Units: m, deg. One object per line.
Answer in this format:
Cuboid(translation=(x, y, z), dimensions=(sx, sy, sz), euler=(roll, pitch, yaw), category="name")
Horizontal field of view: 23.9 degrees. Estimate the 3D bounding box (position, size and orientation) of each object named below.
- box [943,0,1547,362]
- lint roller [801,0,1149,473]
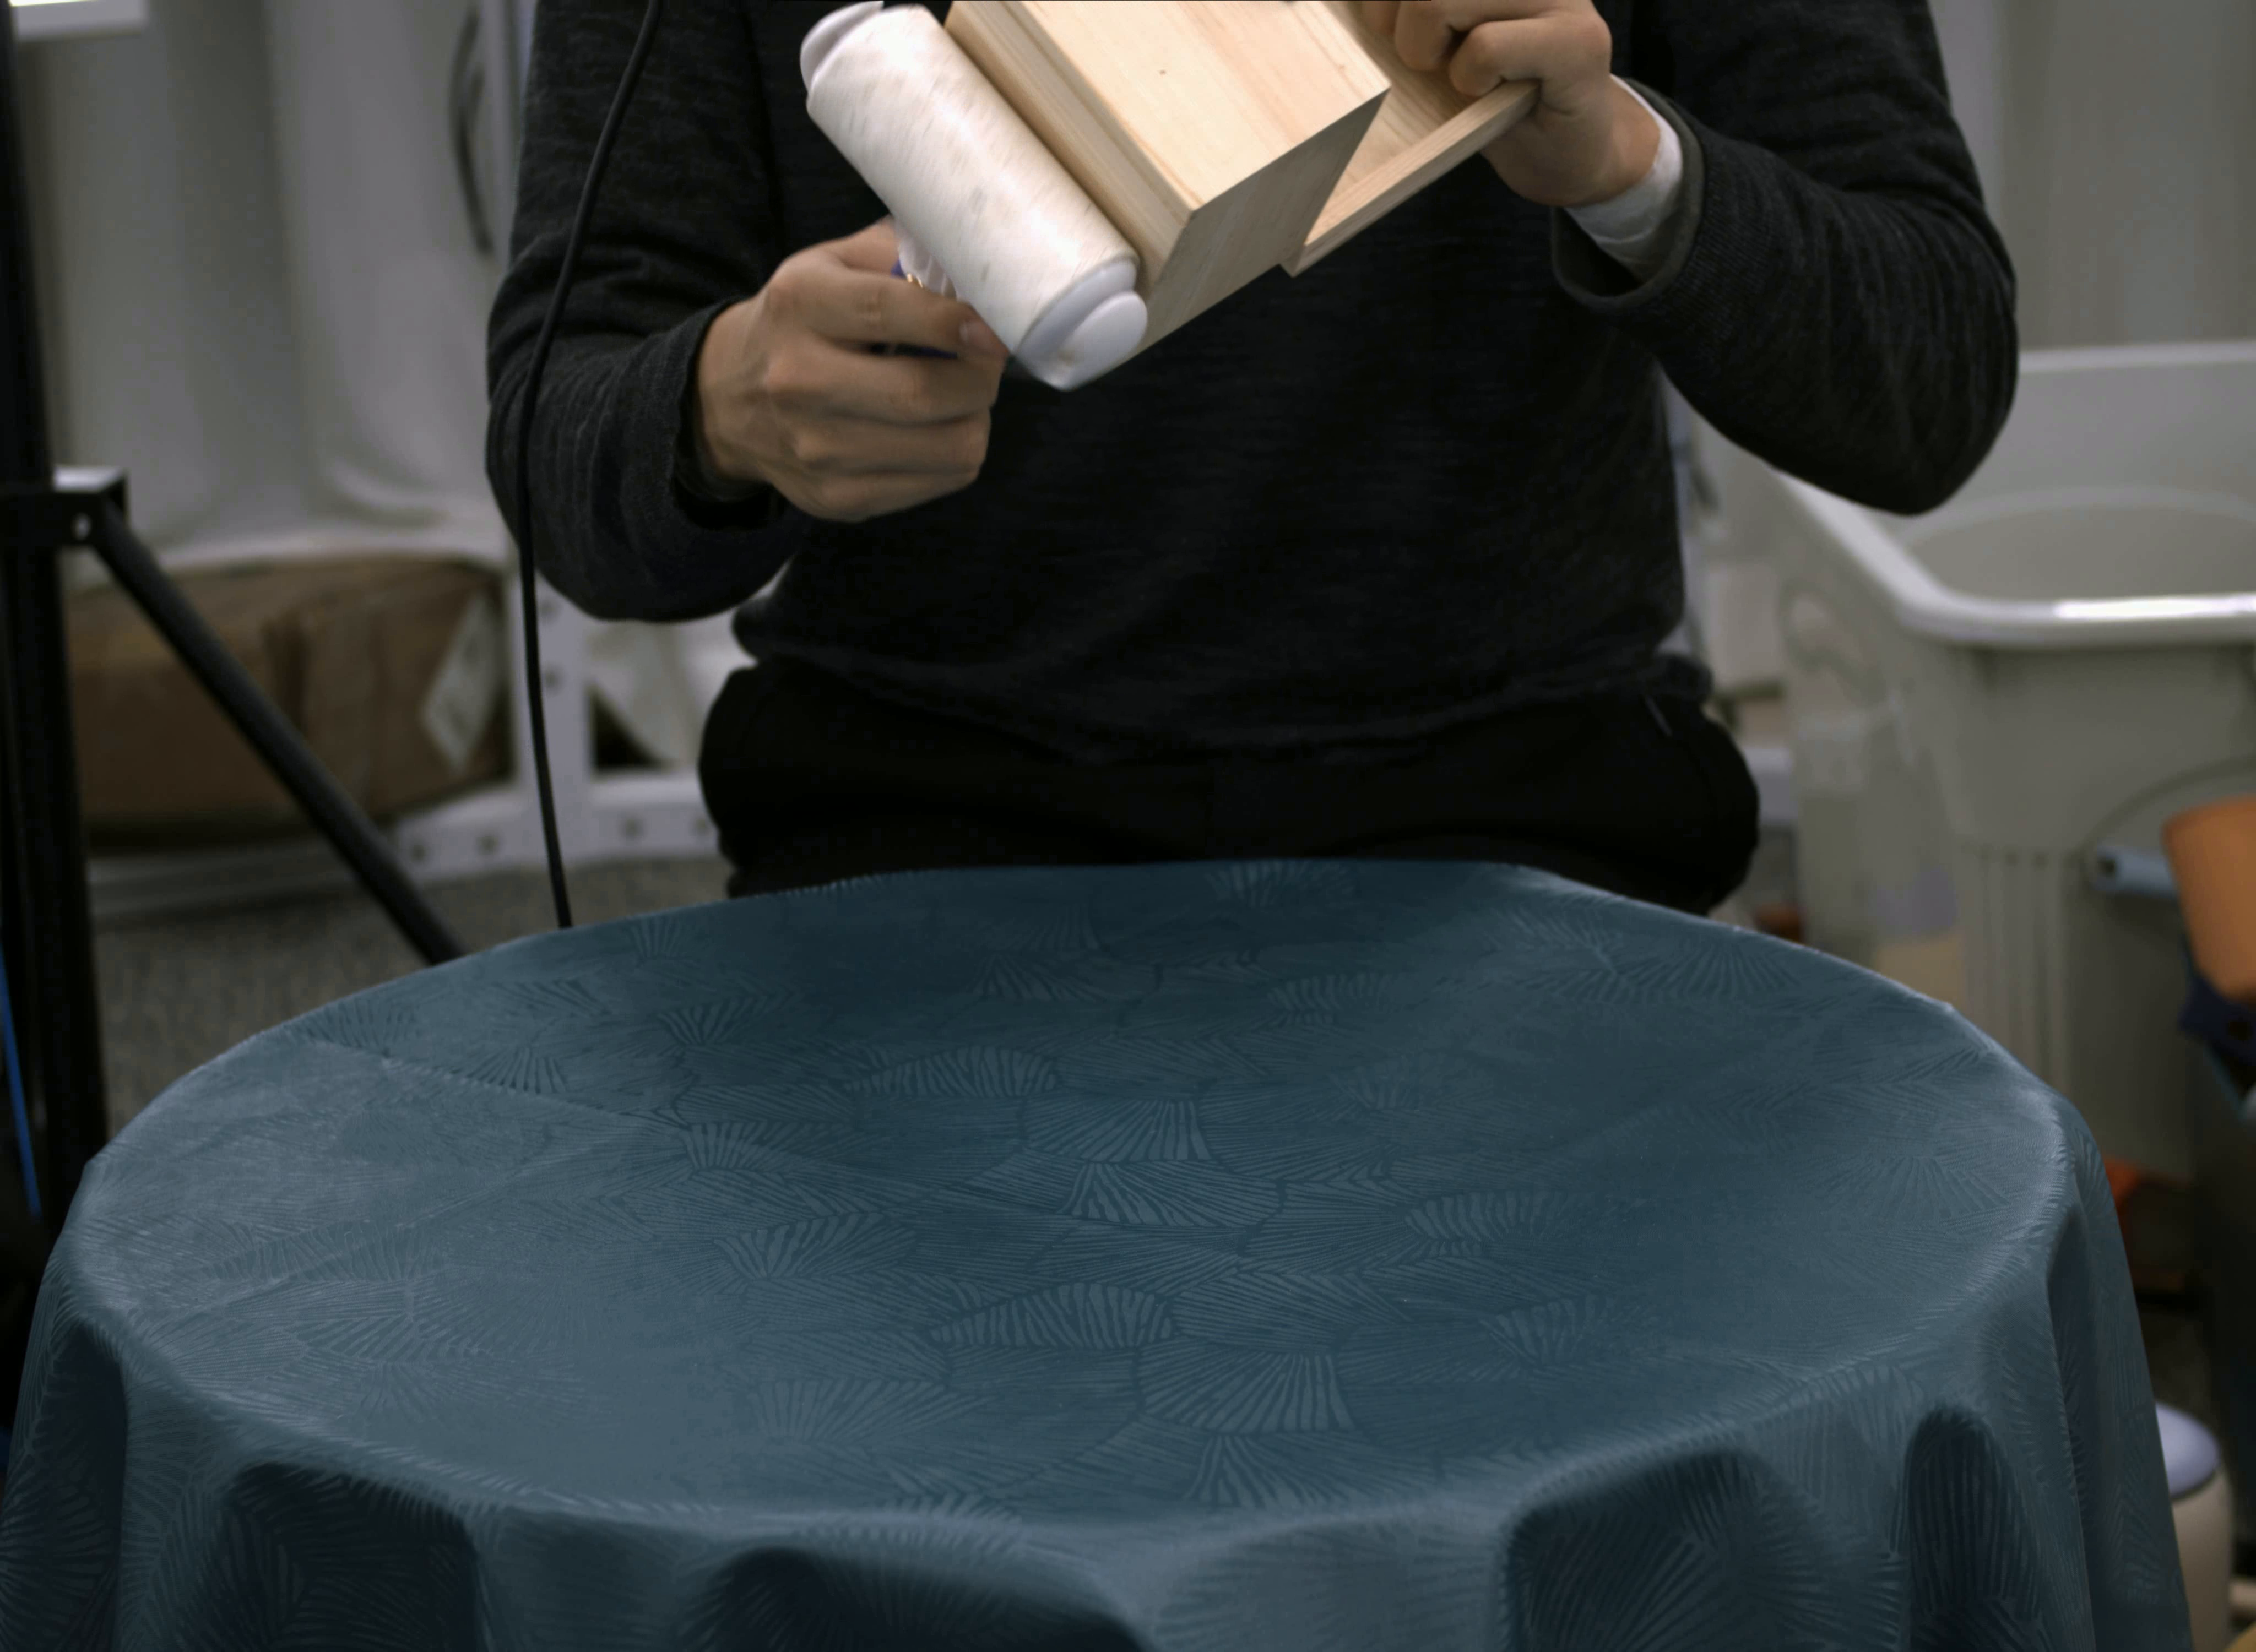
Cuboid(translation=(0.042, -0.237, 1.597), dimensions=(0.182, 0.103, 0.134), euler=(-33, -12, -23), category="box")
Cuboid(translation=(-0.067, -0.157, 1.596), dimensions=(0.049, 0.134, 0.182), euler=(-30, -15, -35), category="lint roller")
